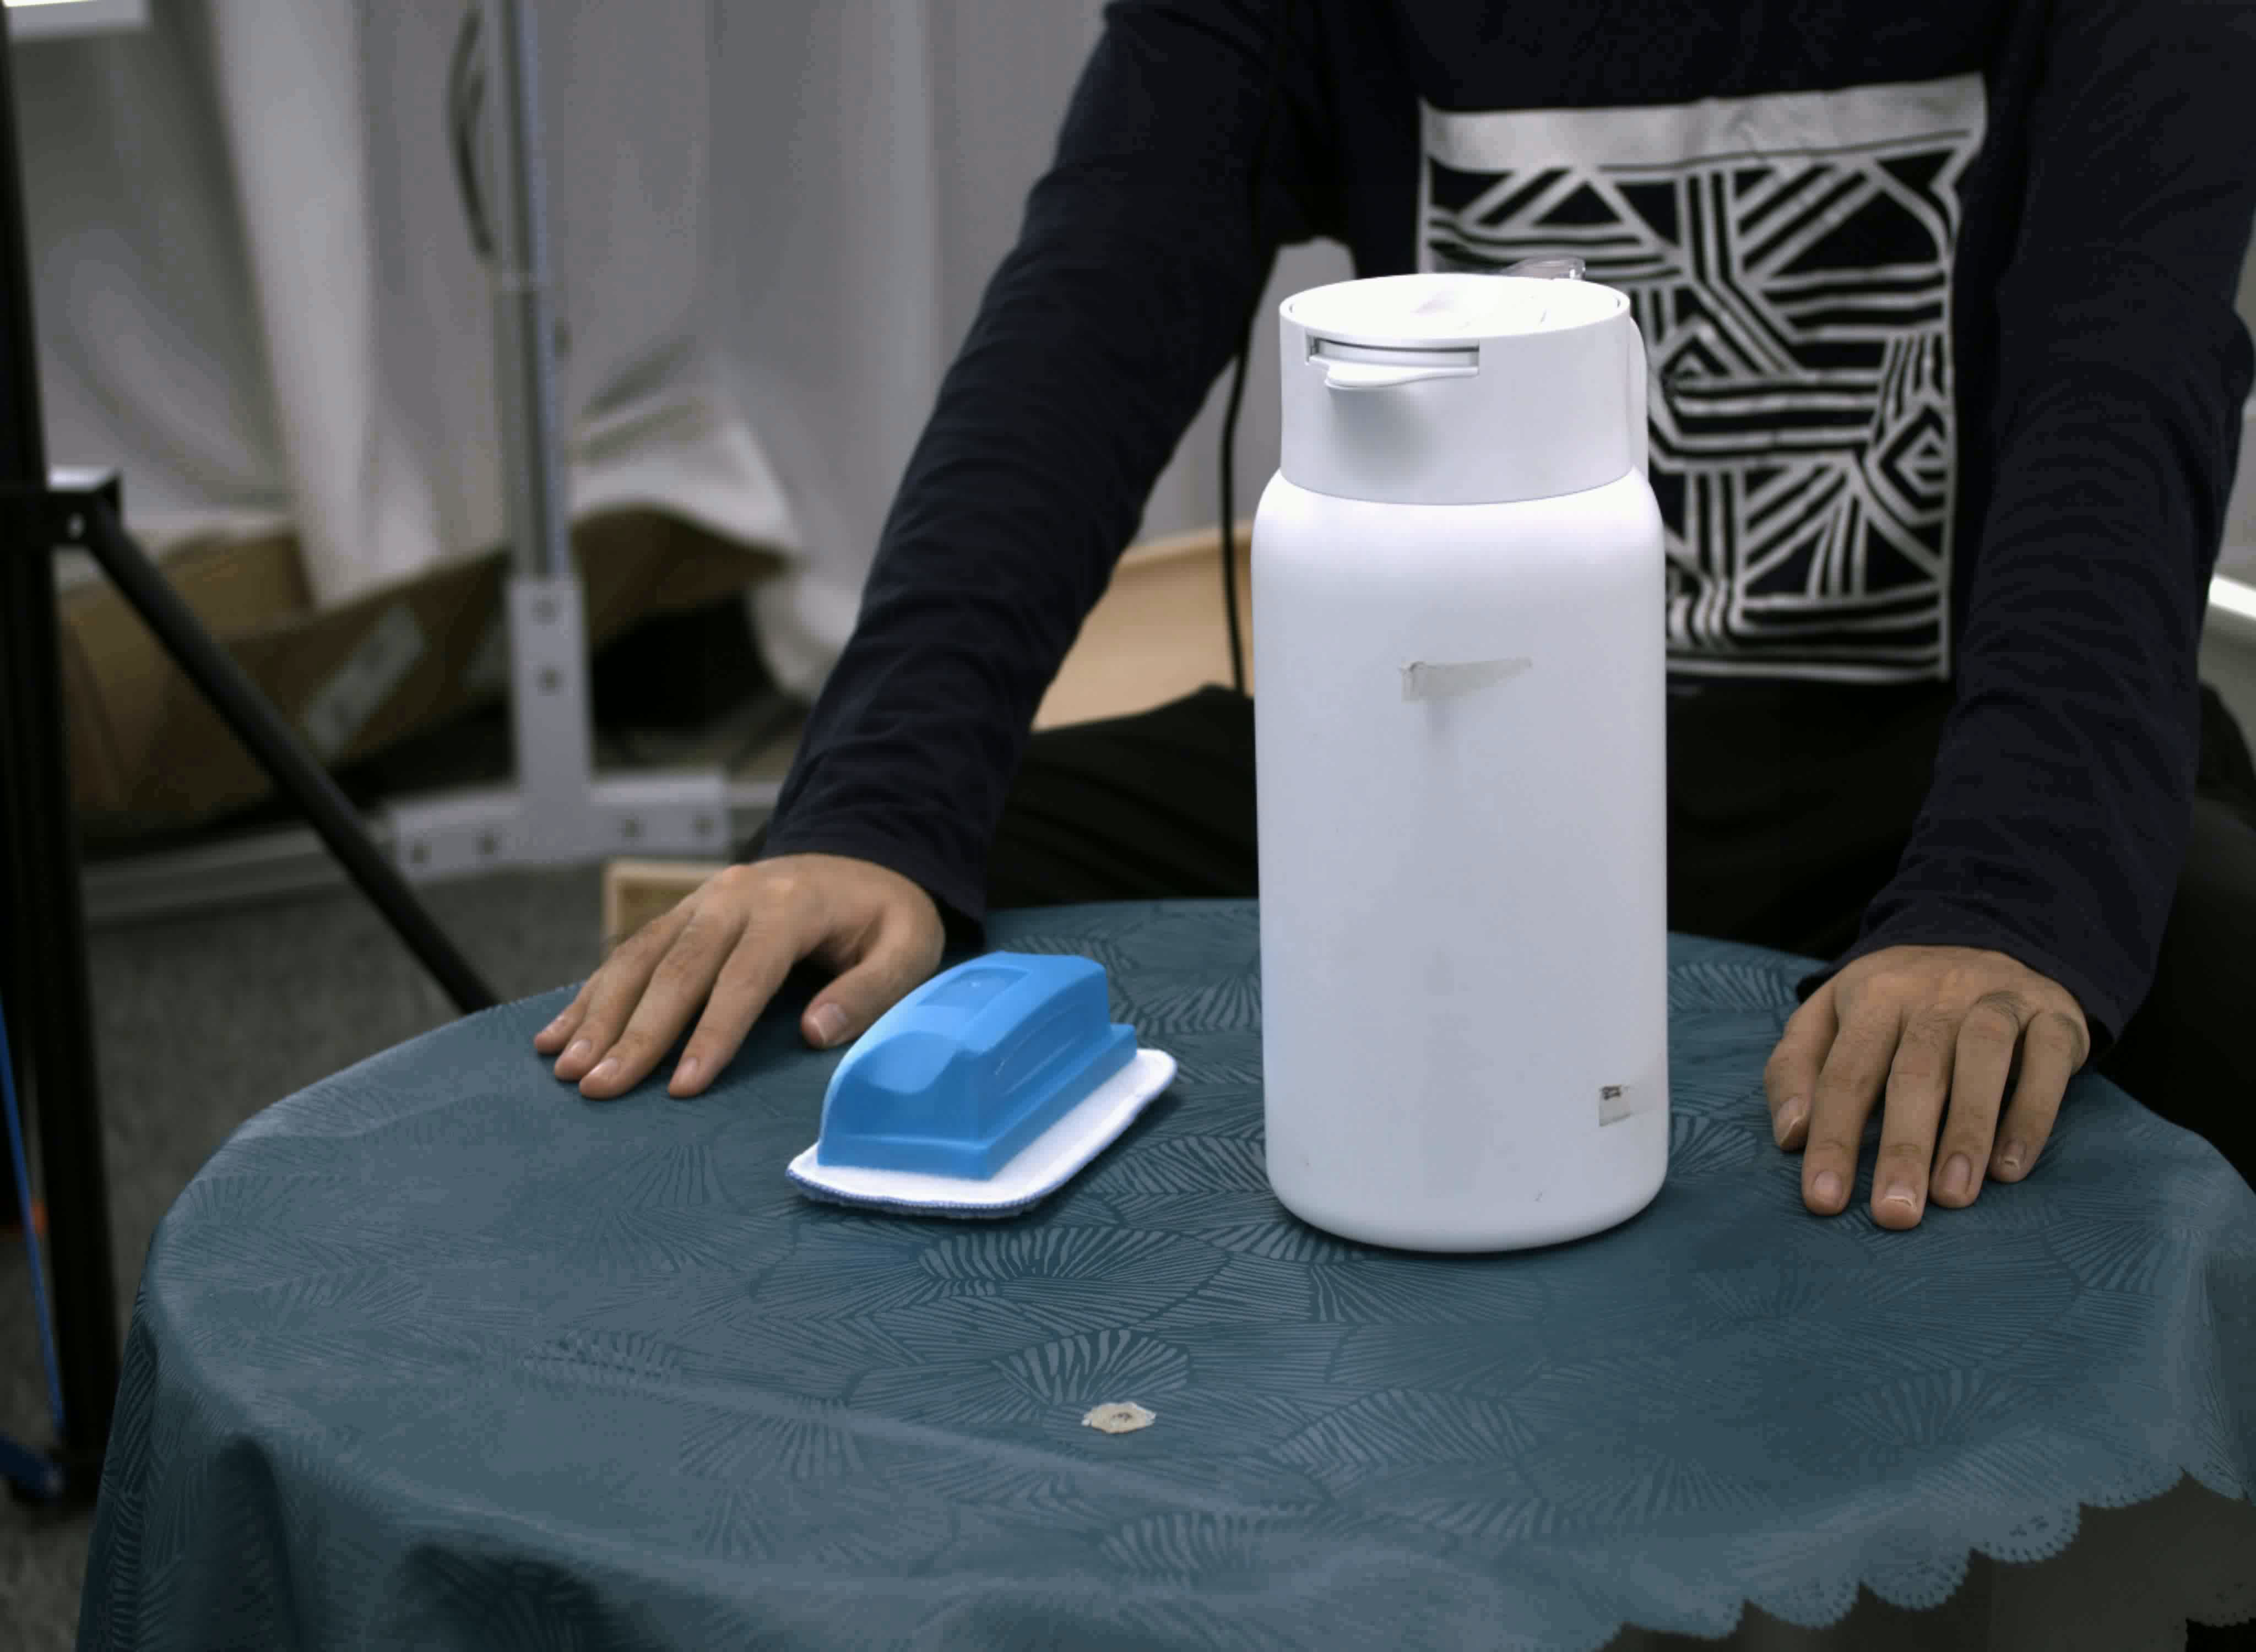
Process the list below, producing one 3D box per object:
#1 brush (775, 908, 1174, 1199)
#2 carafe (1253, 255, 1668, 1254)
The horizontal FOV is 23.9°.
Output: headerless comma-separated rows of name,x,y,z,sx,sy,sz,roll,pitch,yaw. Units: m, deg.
brush,-0.044,0.065,1.606,0.085,0.056,0.142,8,21,22
carafe,0.101,-0.024,1.525,0.126,0.269,0.170,4,15,27
